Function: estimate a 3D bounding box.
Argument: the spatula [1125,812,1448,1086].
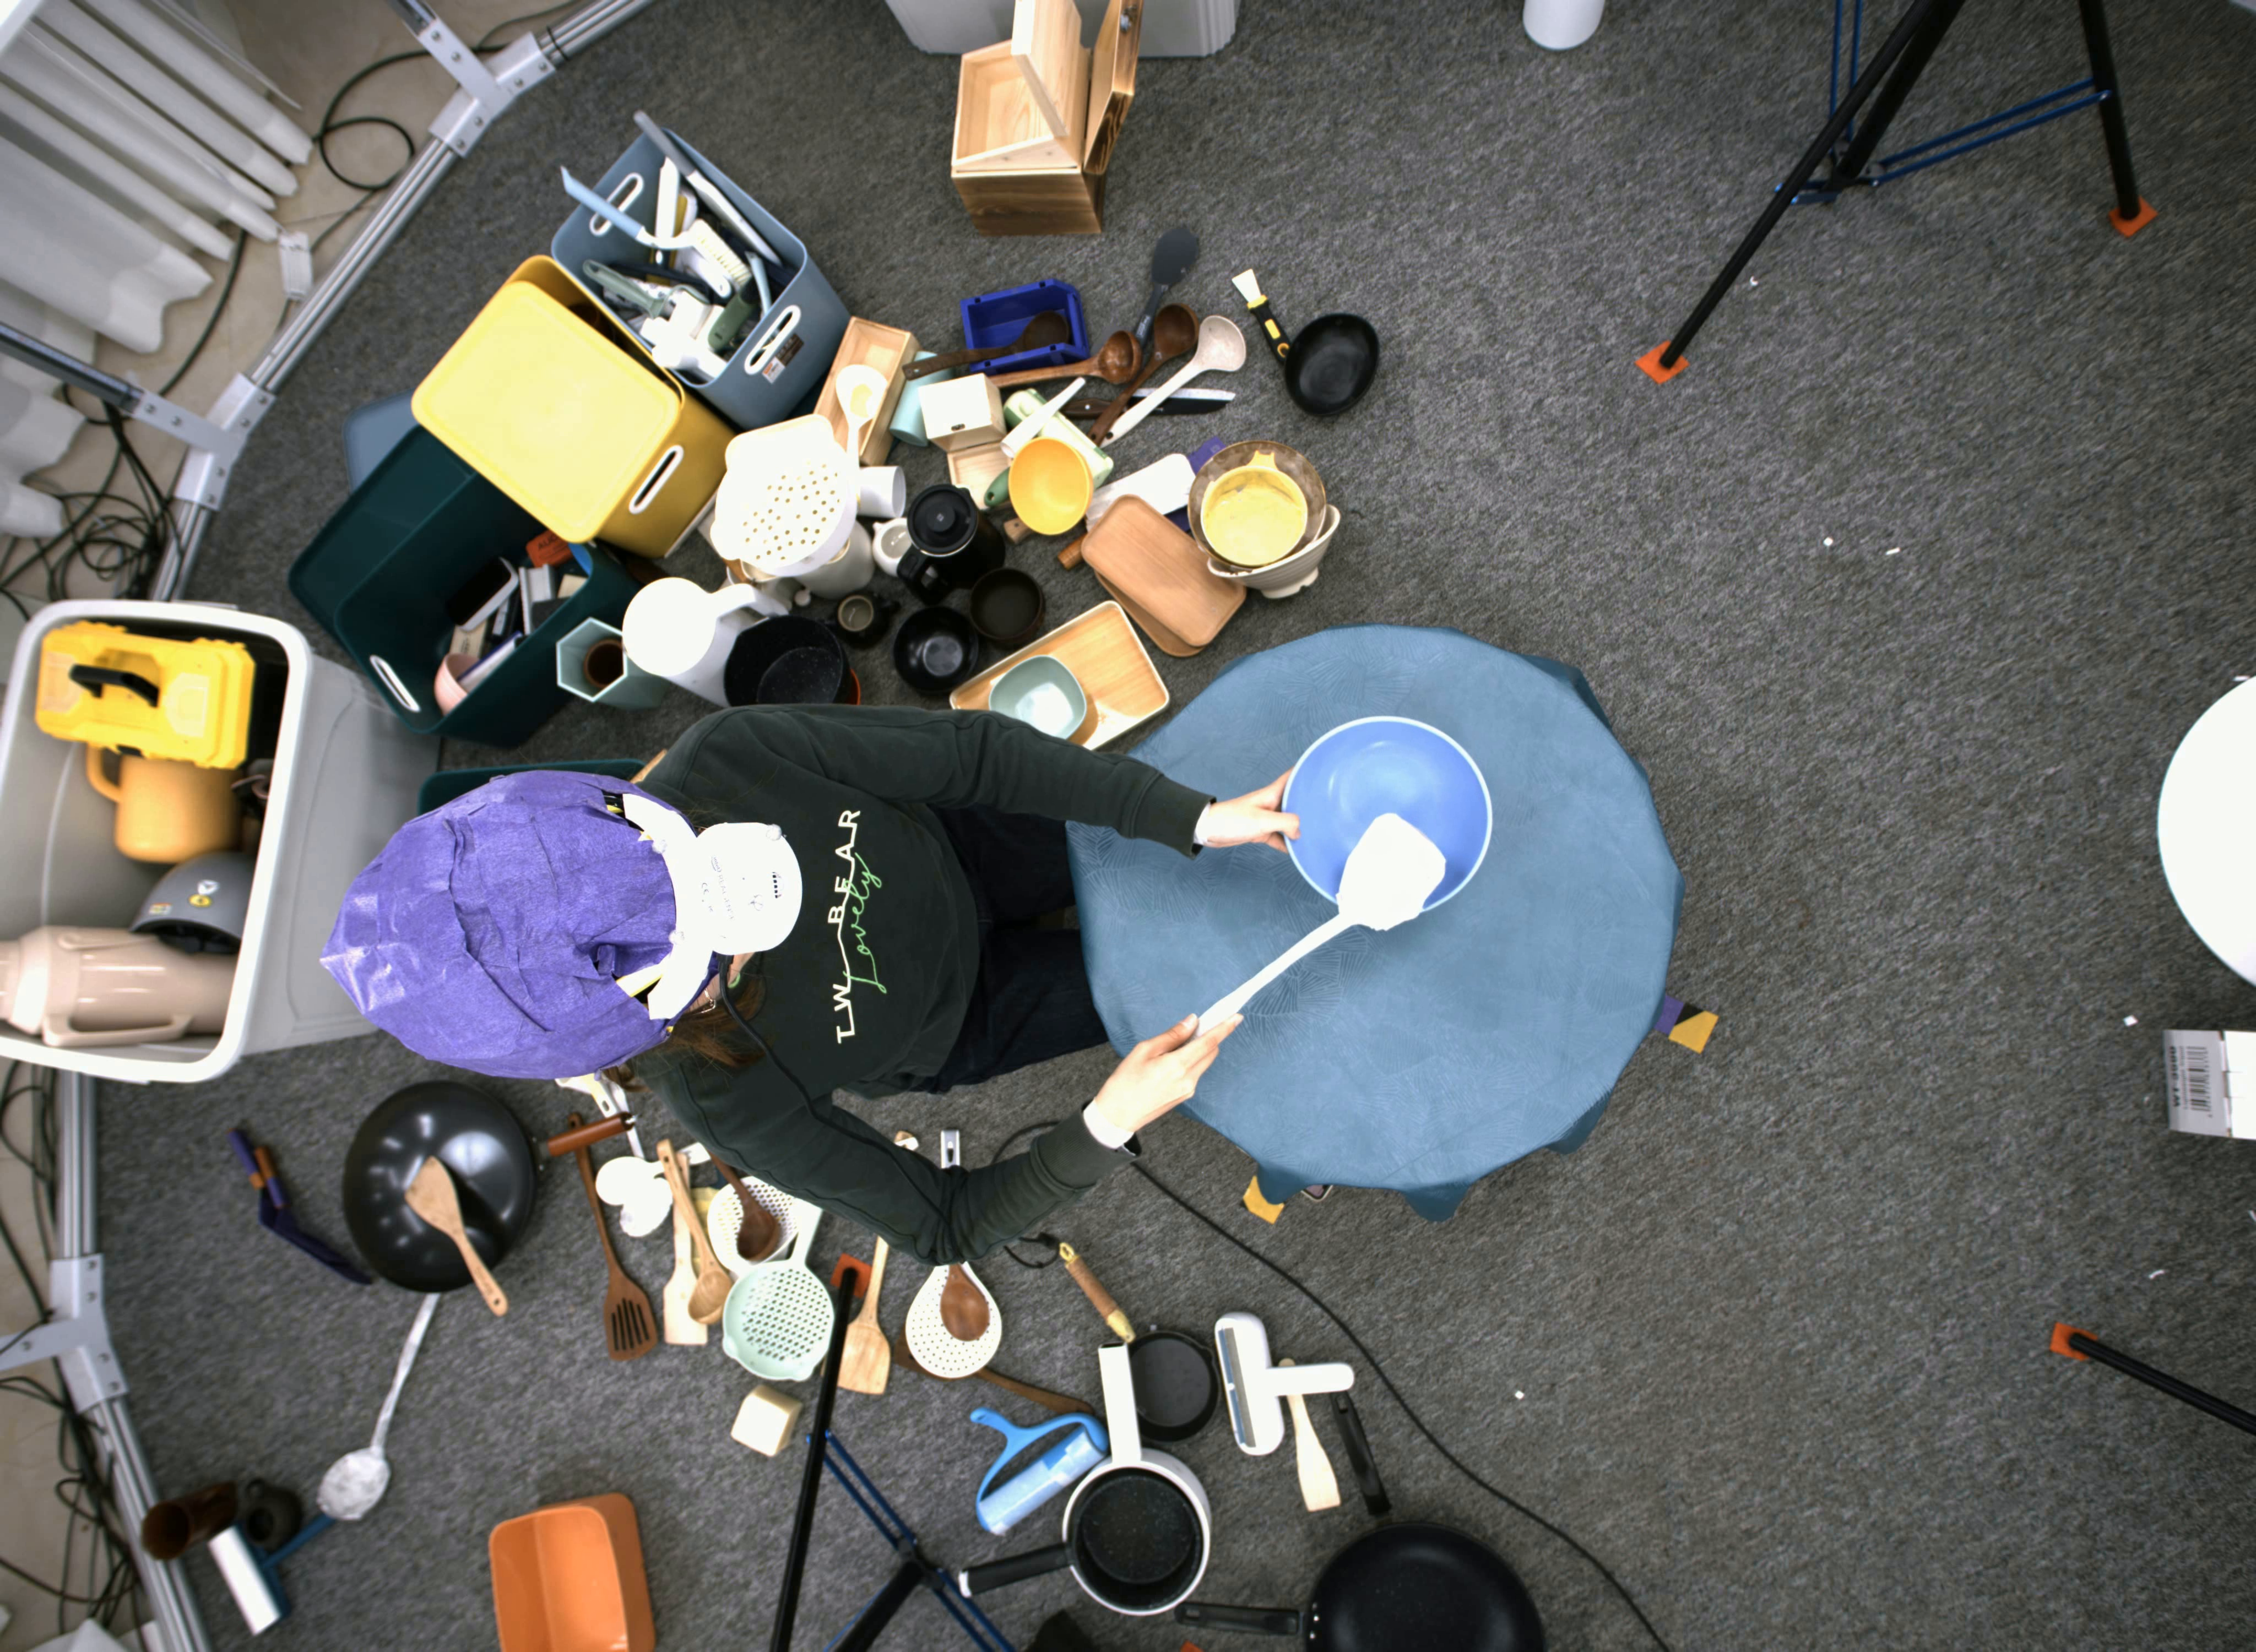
[{"bbox_3d":[0.140,0.125,1.287,0.364,0.045,0.097,-38,52,-2],"label":"spatula"}]

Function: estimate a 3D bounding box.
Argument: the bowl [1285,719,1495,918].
[{"bbox_3d":[0.256,-0.019,1.342,0.197,0.093,0.199,4,109,13],"label":"bowl"}]
